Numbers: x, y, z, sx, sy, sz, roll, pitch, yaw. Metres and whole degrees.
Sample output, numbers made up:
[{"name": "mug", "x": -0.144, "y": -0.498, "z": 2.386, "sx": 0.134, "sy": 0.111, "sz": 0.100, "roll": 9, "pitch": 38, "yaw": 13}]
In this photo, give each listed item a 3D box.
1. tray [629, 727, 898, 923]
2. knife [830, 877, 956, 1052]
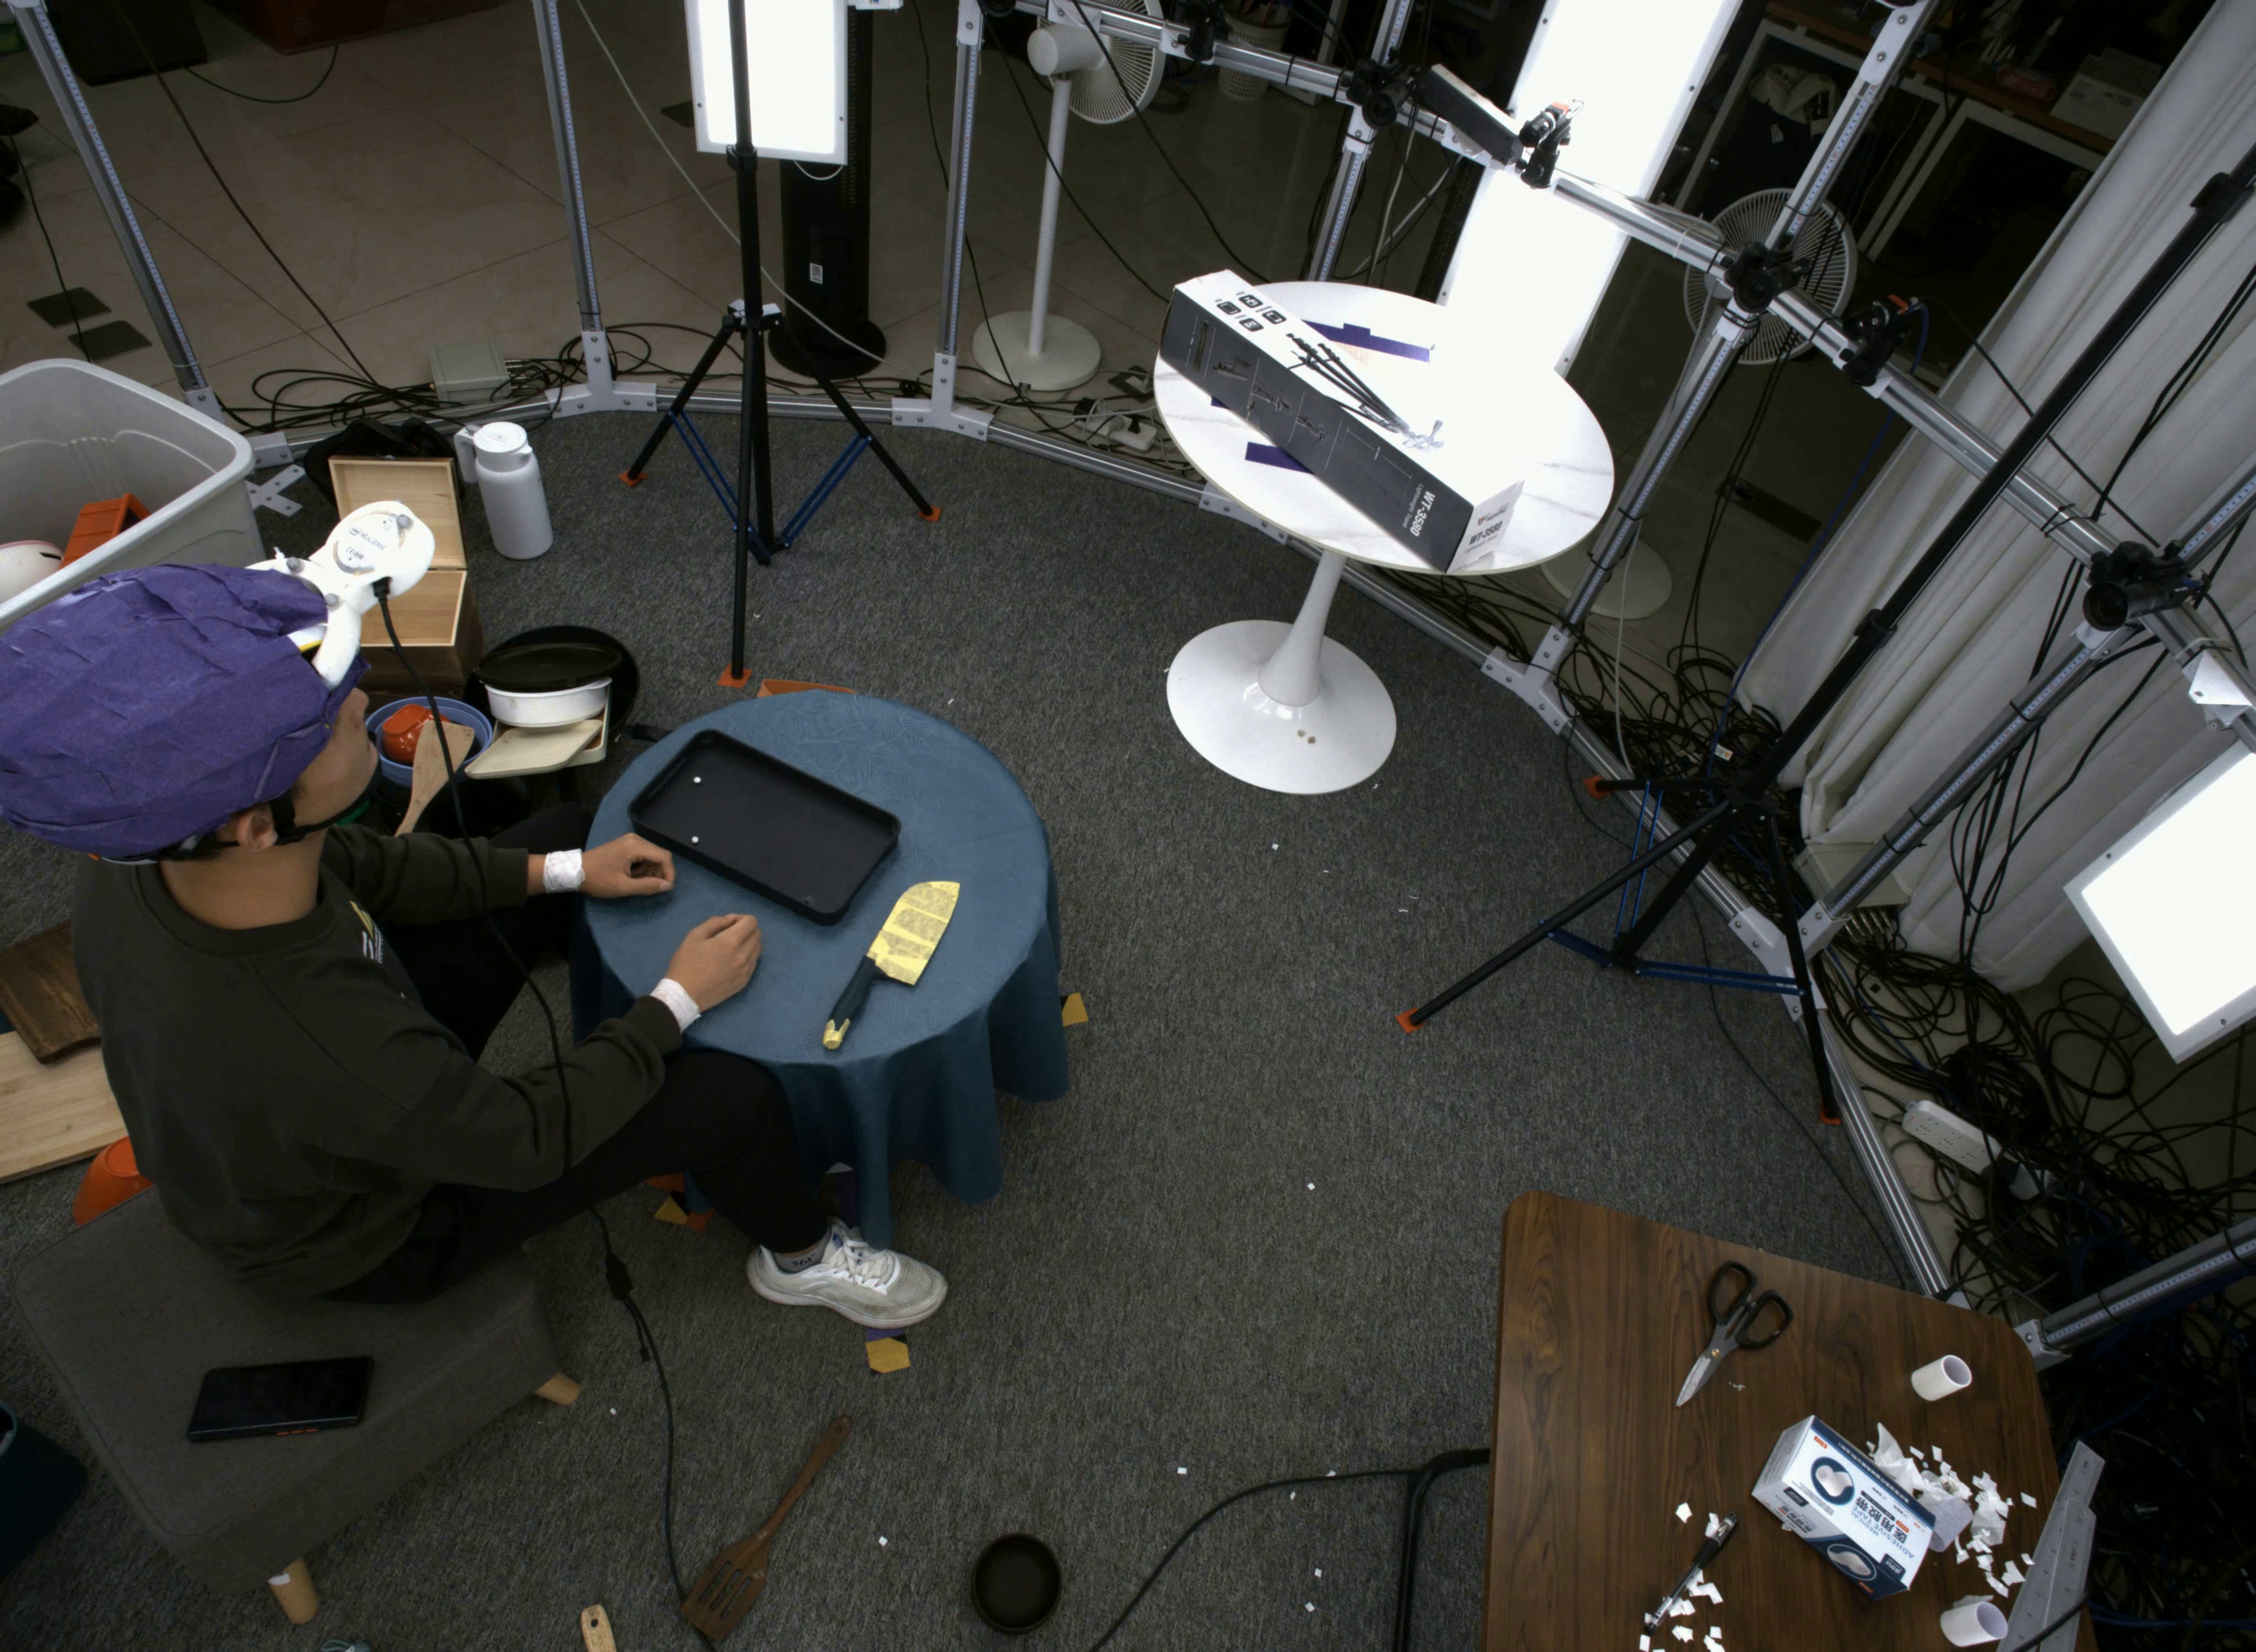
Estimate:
[{"name": "tray", "x": -0.478, "y": -0.005, "z": 1.702, "sx": 0.314, "sy": 0.038, "sz": 0.183, "roll": 24, "pitch": 53, "yaw": 4}, {"name": "knife", "x": -0.292, "y": 0.167, "z": 1.636, "sx": 0.080, "sy": 0.028, "sz": 0.287, "roll": 23, "pitch": 51, "yaw": 5}]
